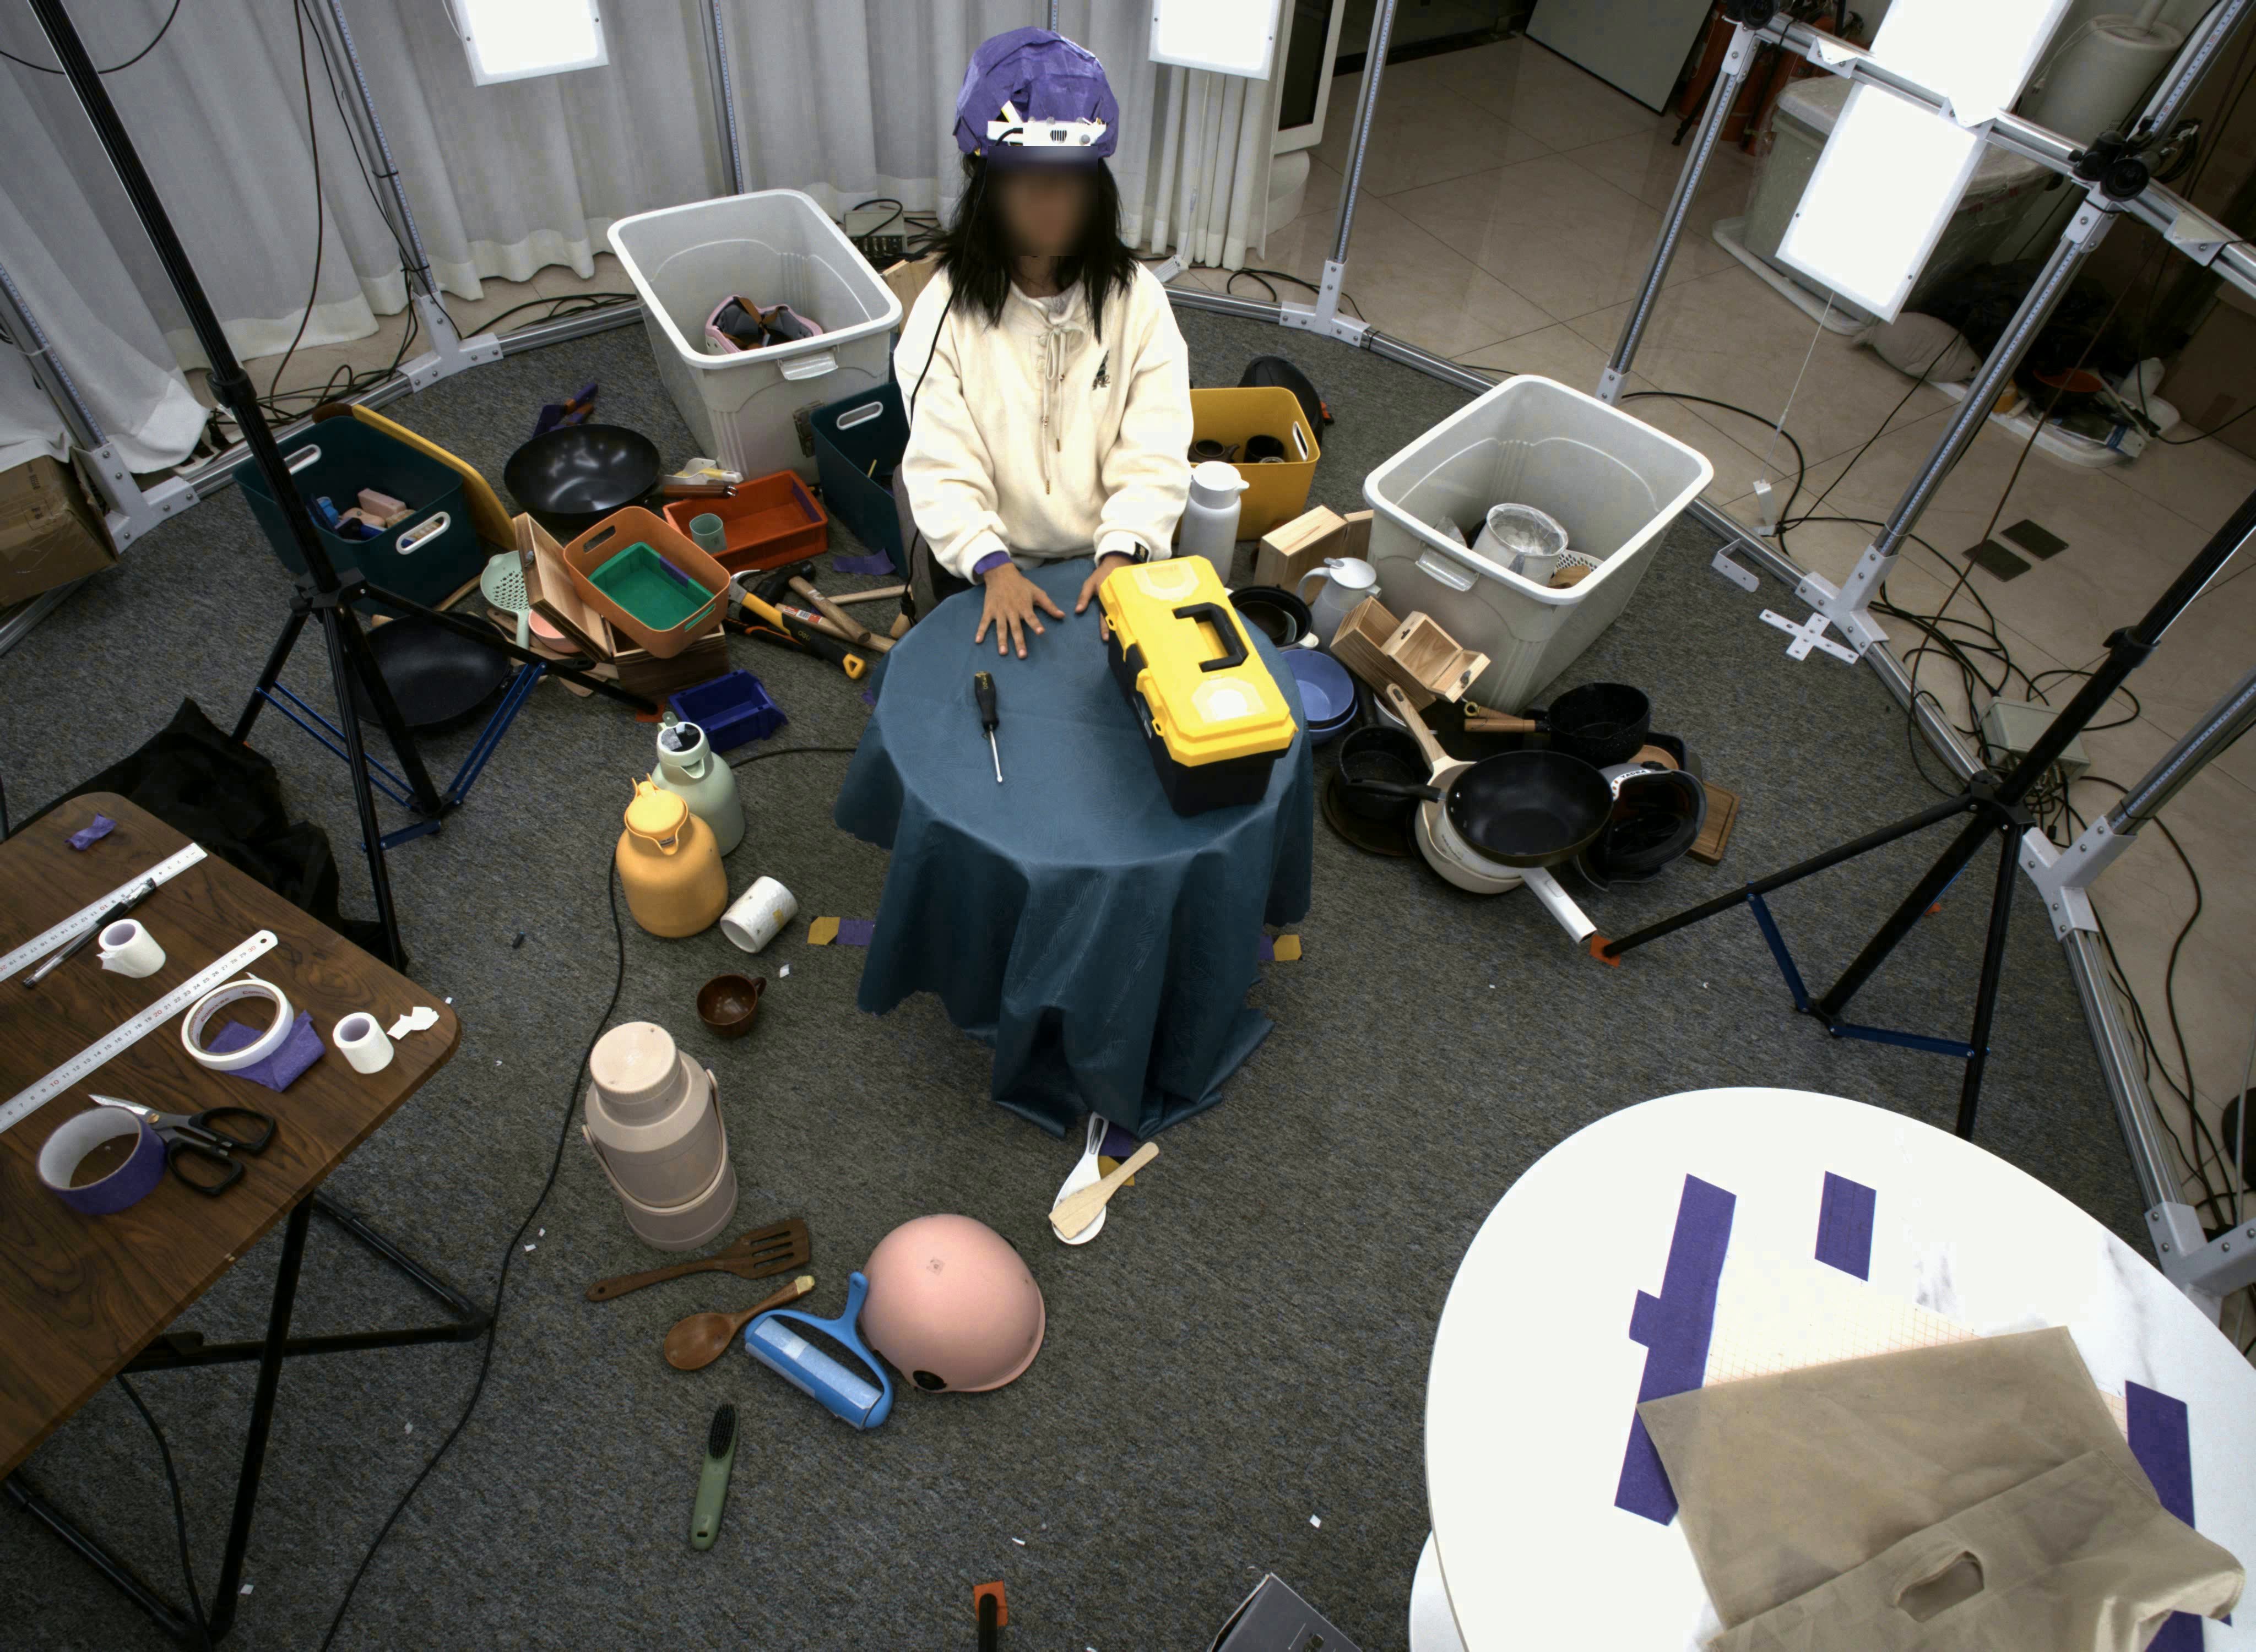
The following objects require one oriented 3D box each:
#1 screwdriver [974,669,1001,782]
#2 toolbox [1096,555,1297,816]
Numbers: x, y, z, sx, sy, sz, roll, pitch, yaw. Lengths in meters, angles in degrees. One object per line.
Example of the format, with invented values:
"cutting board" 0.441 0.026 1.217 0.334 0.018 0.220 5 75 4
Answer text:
"screwdriver" -0.189 -0.140 1.758 0.031 0.031 0.201 -5 51 -9
"toolbox" 0.083 -0.192 1.730 0.181 0.168 0.360 -11 51 -13
